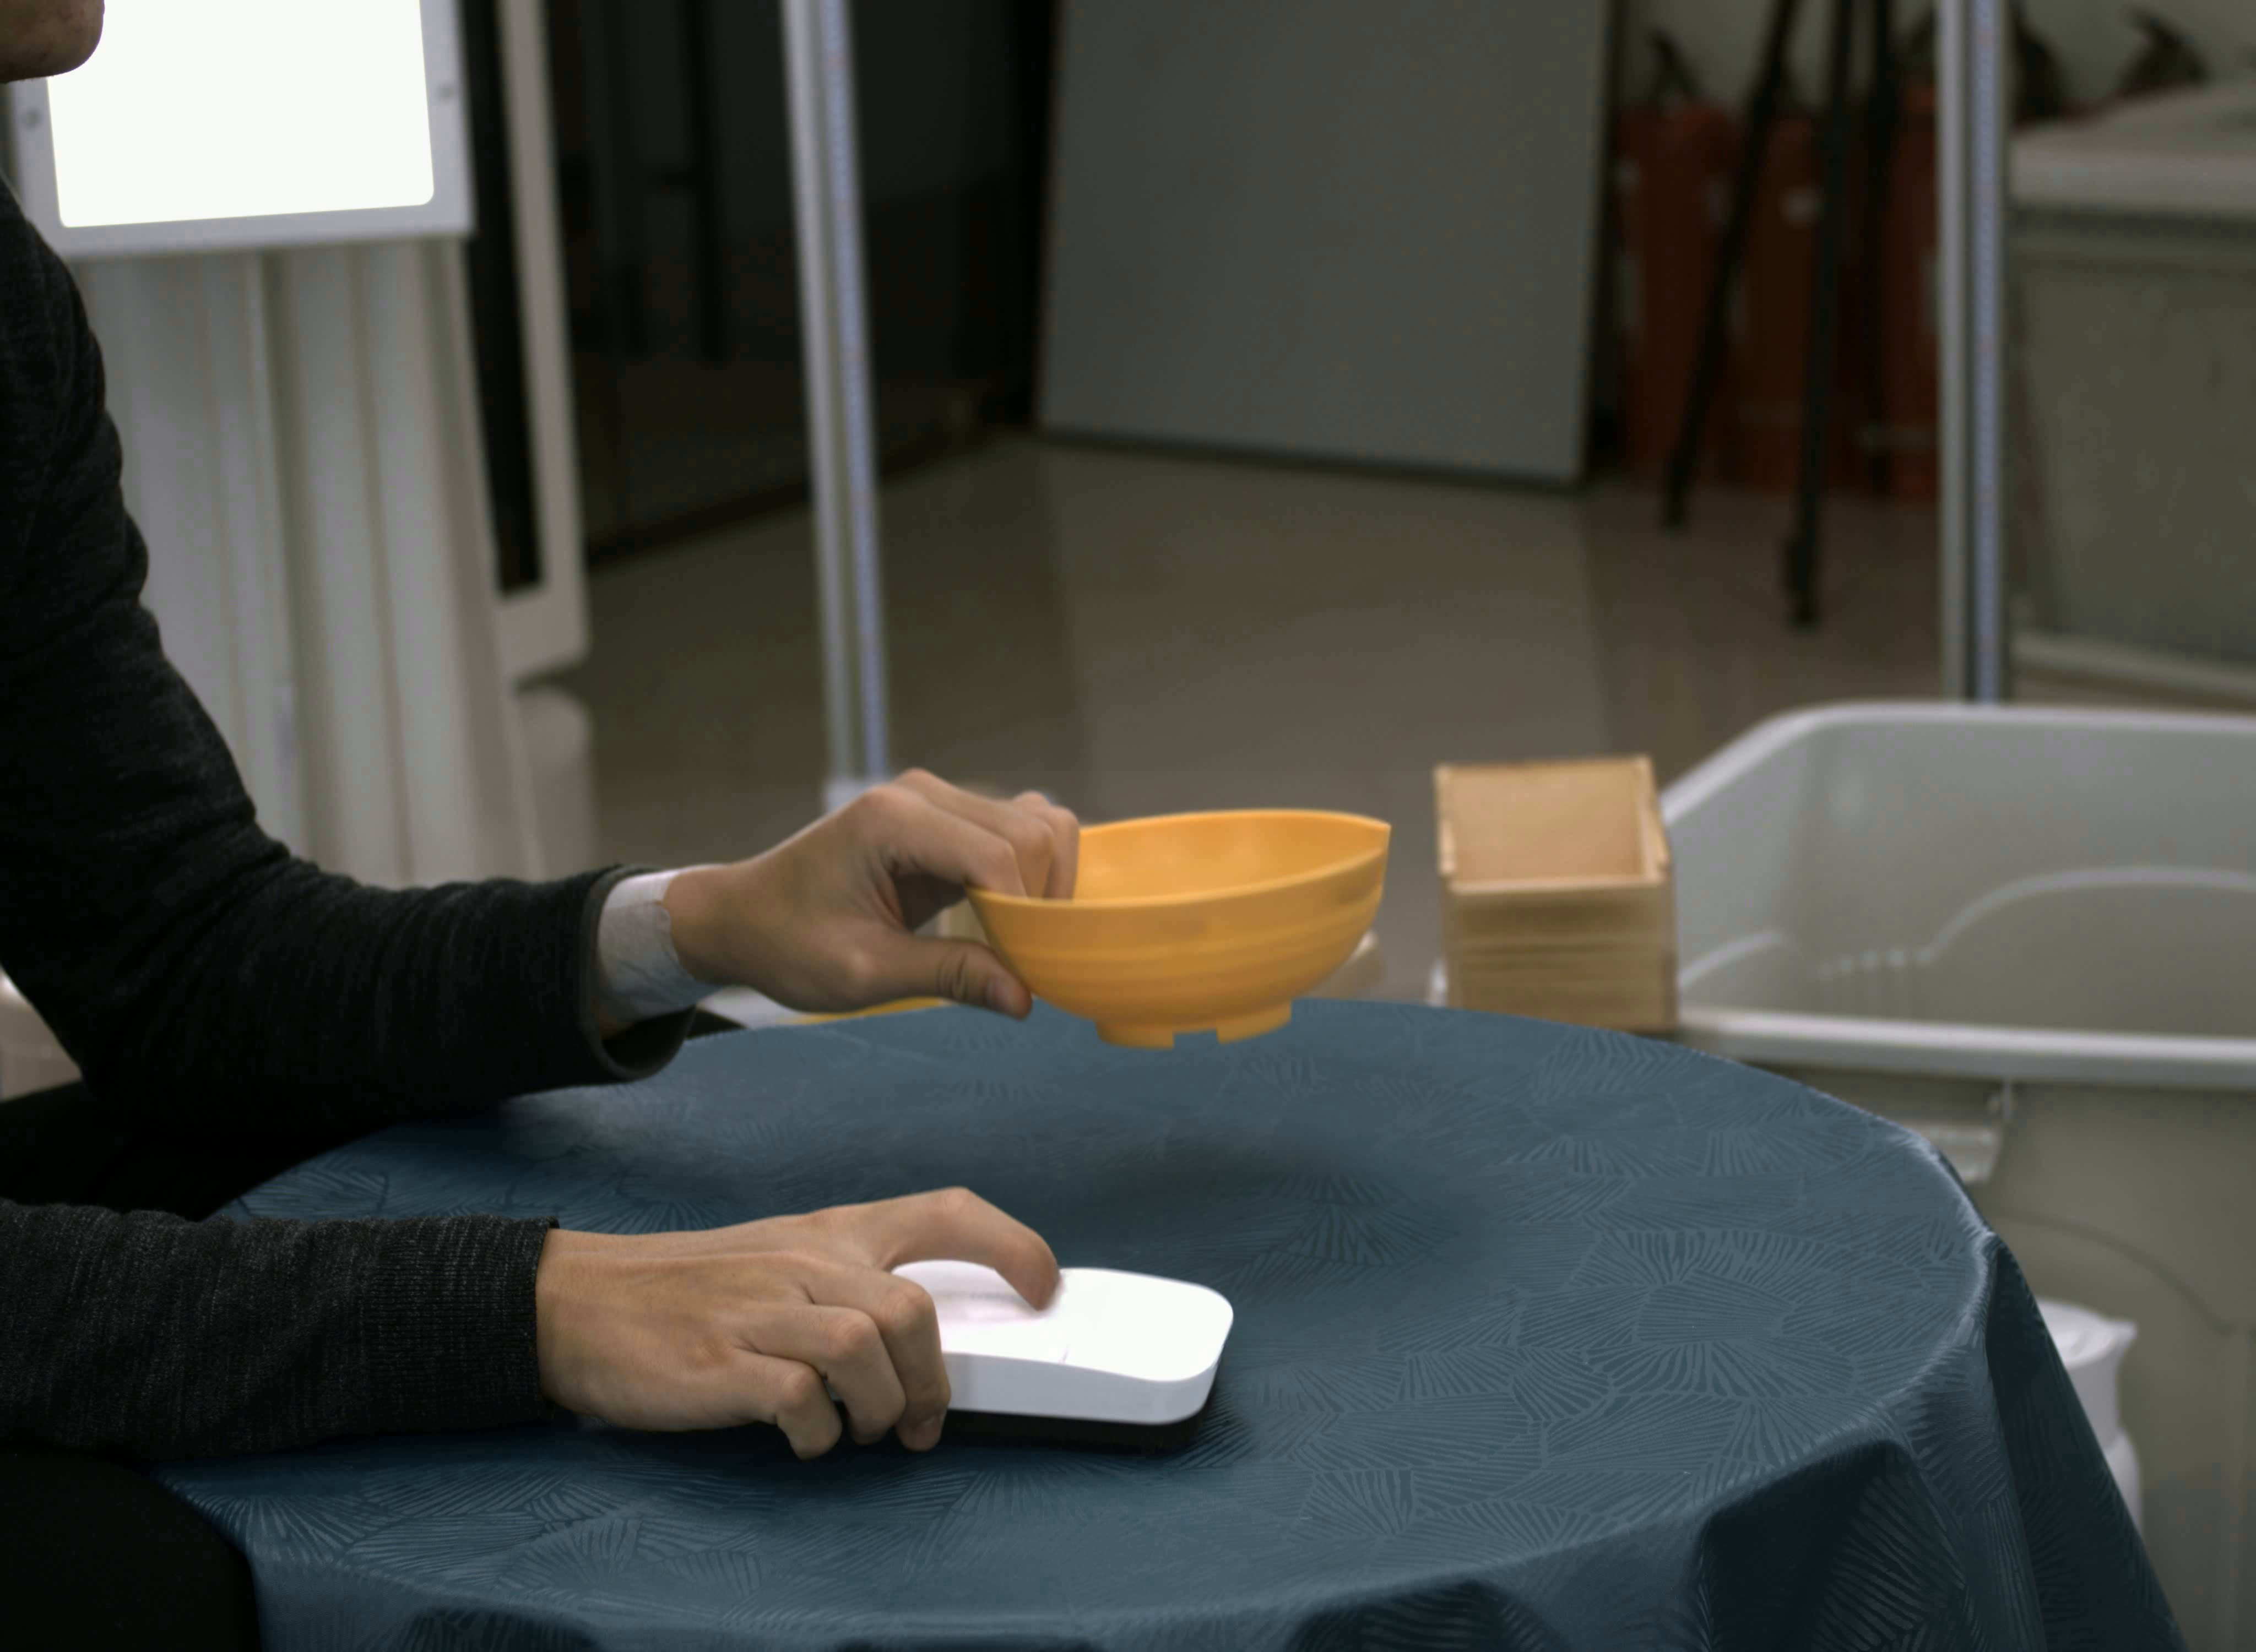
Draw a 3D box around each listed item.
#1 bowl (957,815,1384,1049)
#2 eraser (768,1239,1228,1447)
[{"bbox_3d":[0.018,0.037,1.768,0.143,0.061,0.145,-8,7,0],"label":"bowl"},{"bbox_3d":[-0.037,0.150,1.564,0.131,0.035,0.063,3,21,18],"label":"eraser"}]
